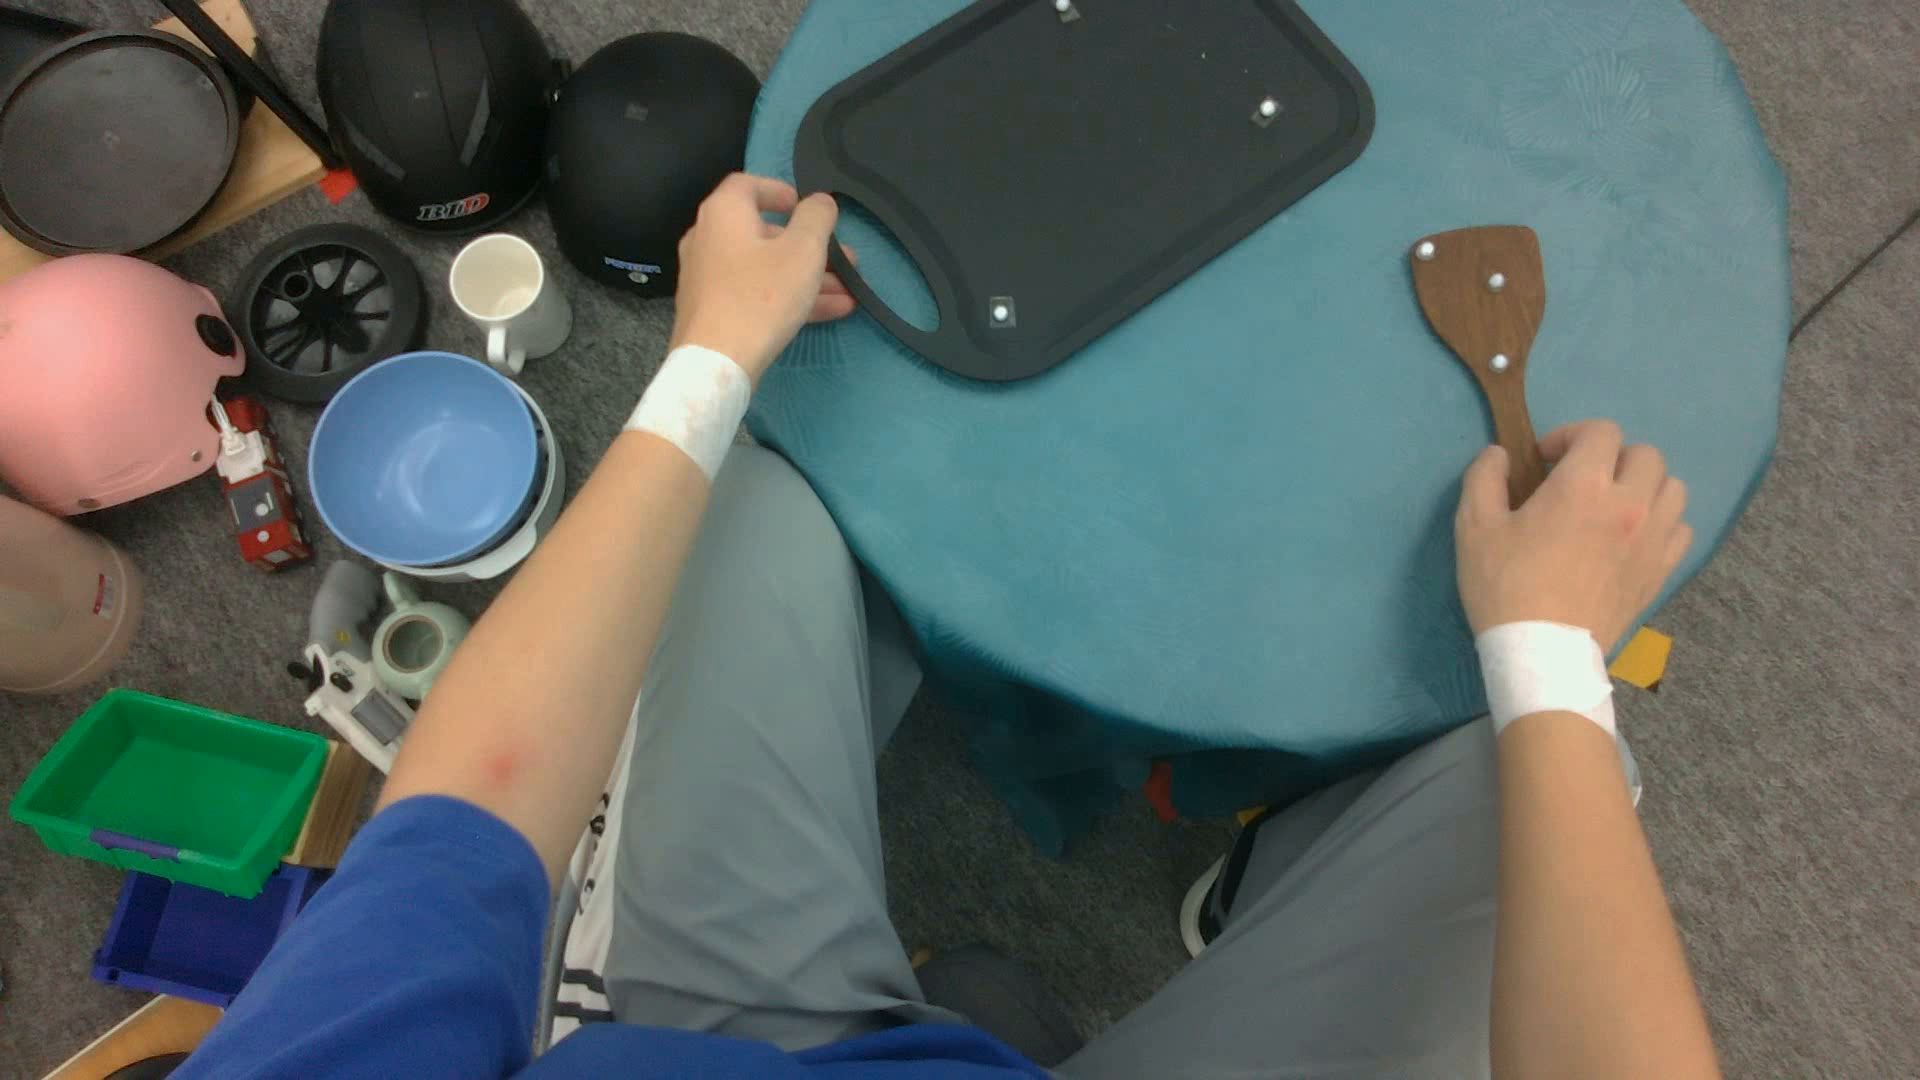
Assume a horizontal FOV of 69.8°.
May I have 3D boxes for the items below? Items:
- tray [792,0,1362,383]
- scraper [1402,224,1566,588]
[{"bbox_3d":[0.064,-0.232,0.802,0.326,0.010,0.211,-35,78,-11],"label":"tray"},{"bbox_3d":[0.300,-0.077,0.764,0.076,0.011,0.211,-7,75,-1],"label":"scraper"}]
